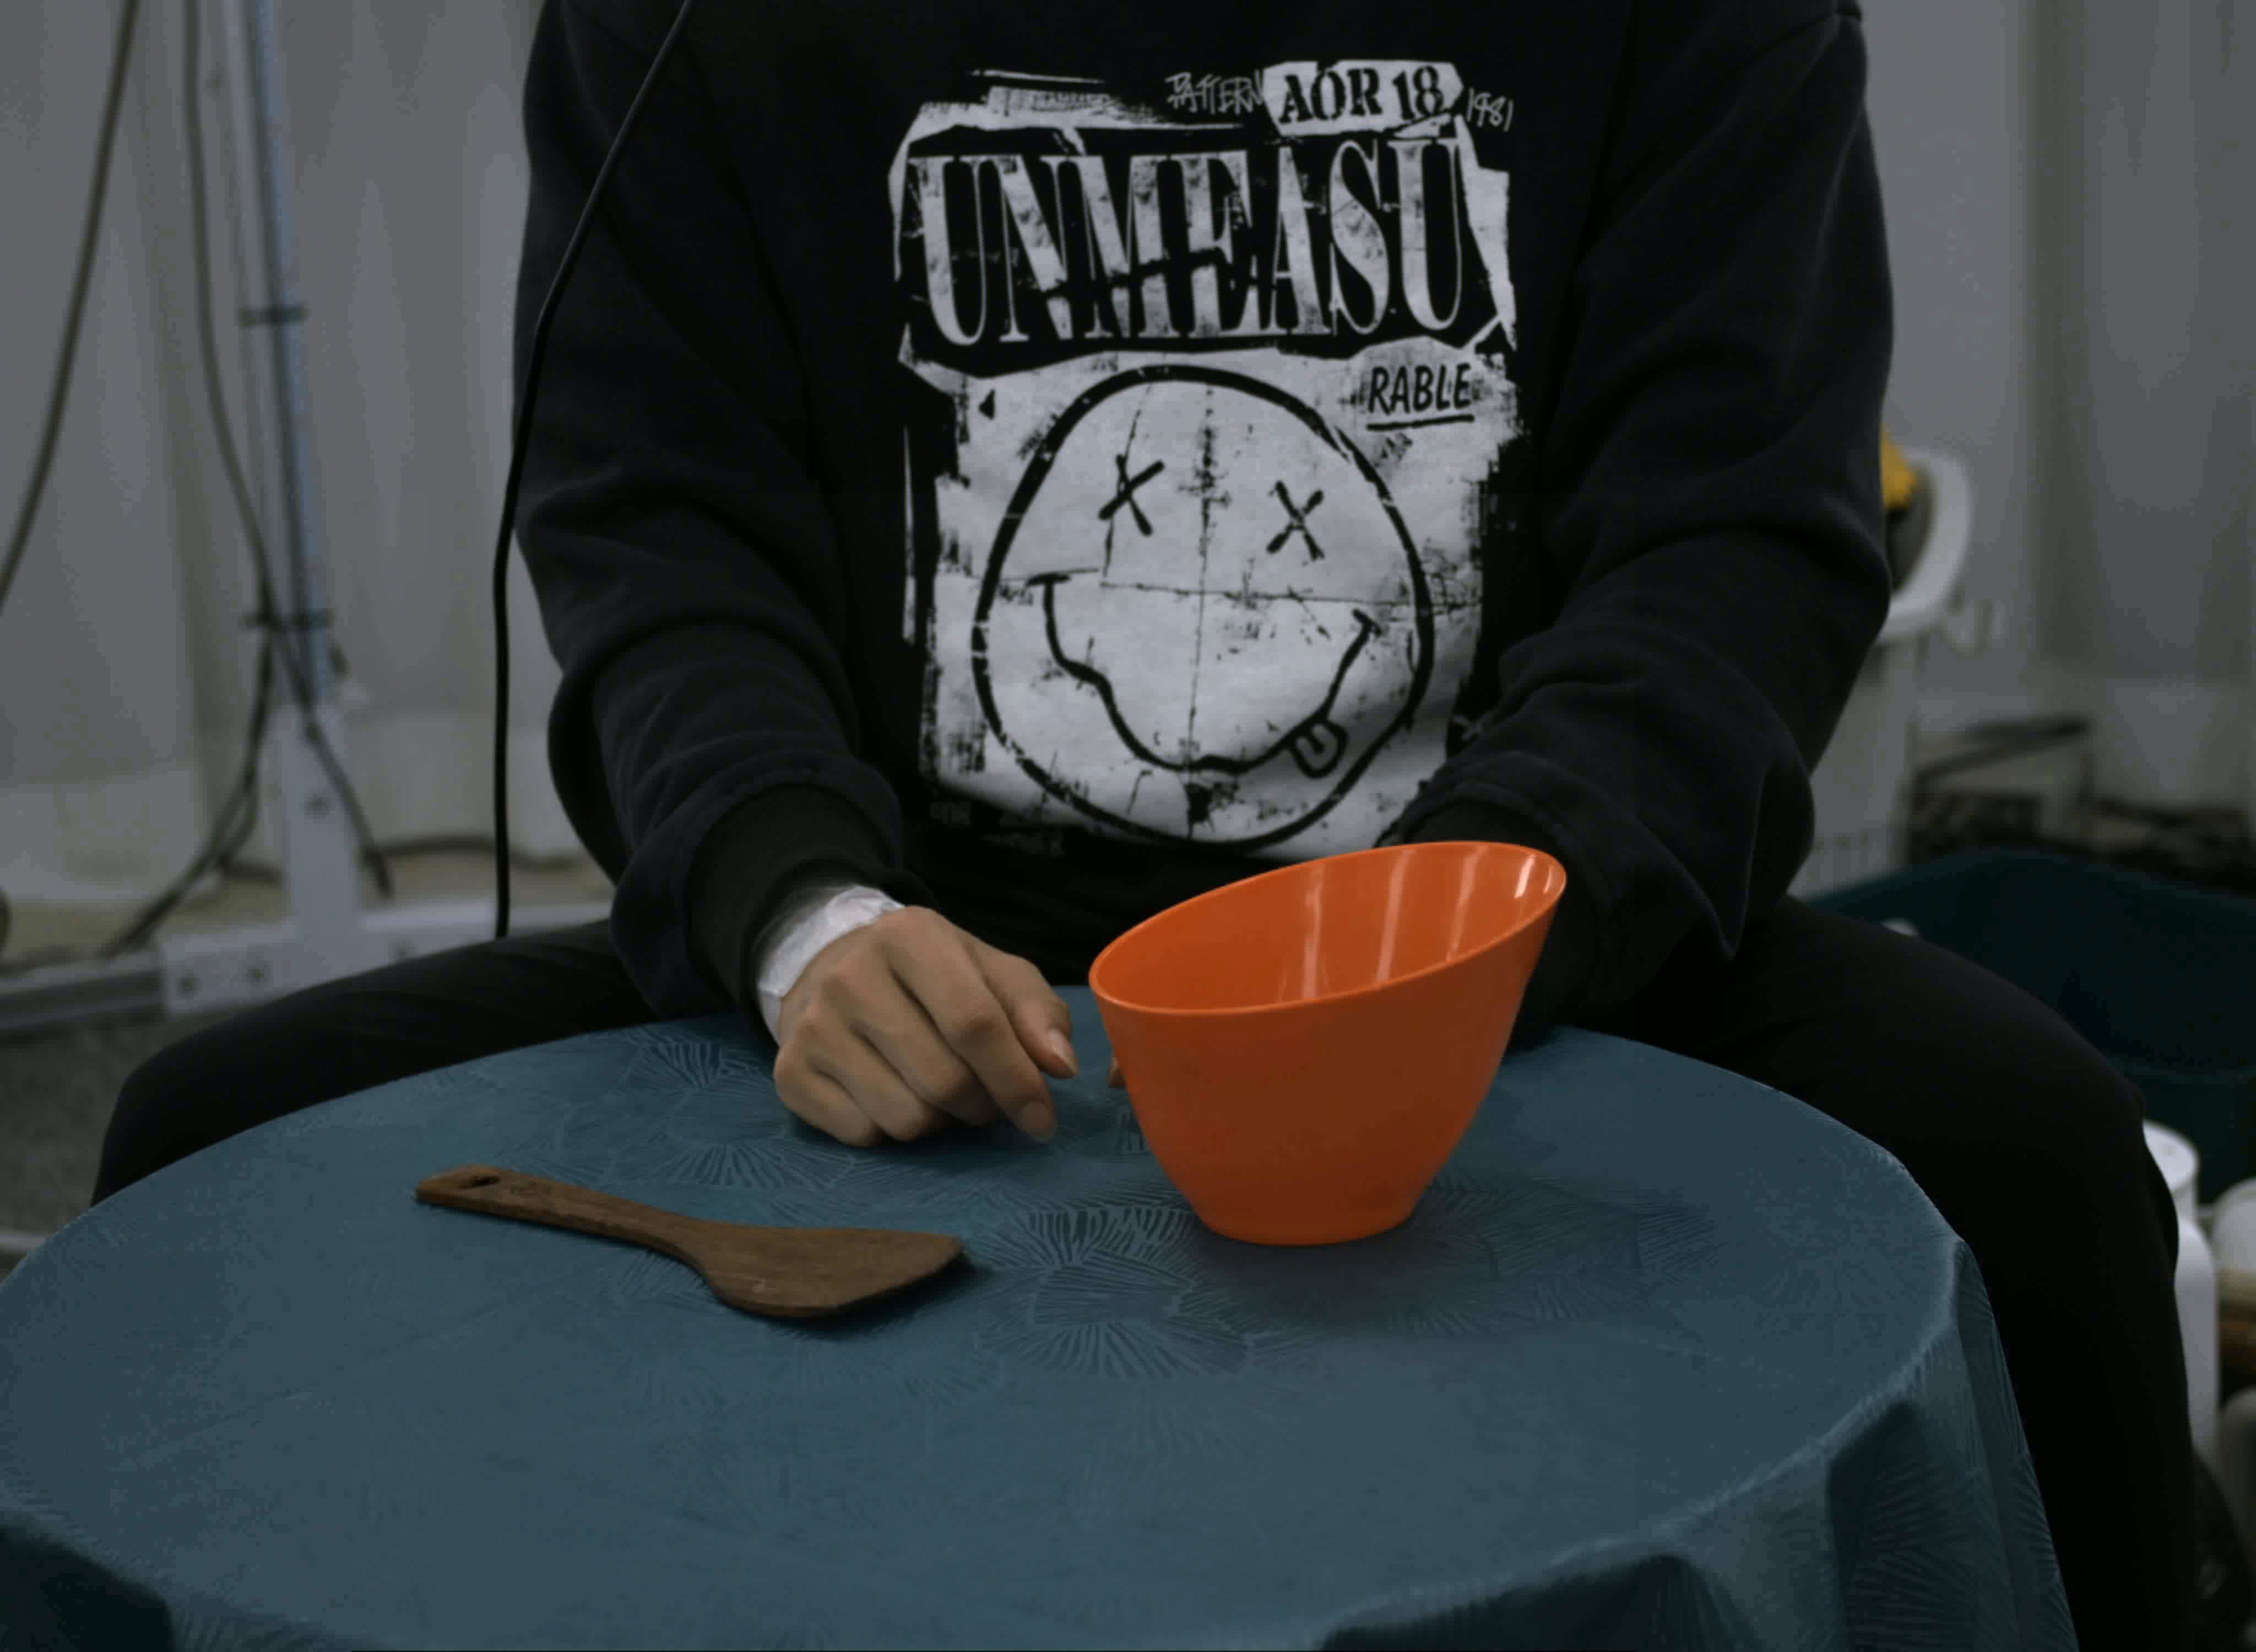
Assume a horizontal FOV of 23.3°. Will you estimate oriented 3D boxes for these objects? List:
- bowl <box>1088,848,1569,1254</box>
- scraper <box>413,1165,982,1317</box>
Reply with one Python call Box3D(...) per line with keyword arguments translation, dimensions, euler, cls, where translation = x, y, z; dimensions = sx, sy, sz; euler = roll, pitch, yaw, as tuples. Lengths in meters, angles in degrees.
Box3D(translation=(0.062, 0.071, 1.673), dimensions=(0.147, 0.104, 0.149), euler=(-3, 15, 0), cls="bowl")
Box3D(translation=(-0.141, 0.125, 1.686), dimensions=(0.212, 0.011, 0.076), euler=(9, 17, 39), cls="scraper")
